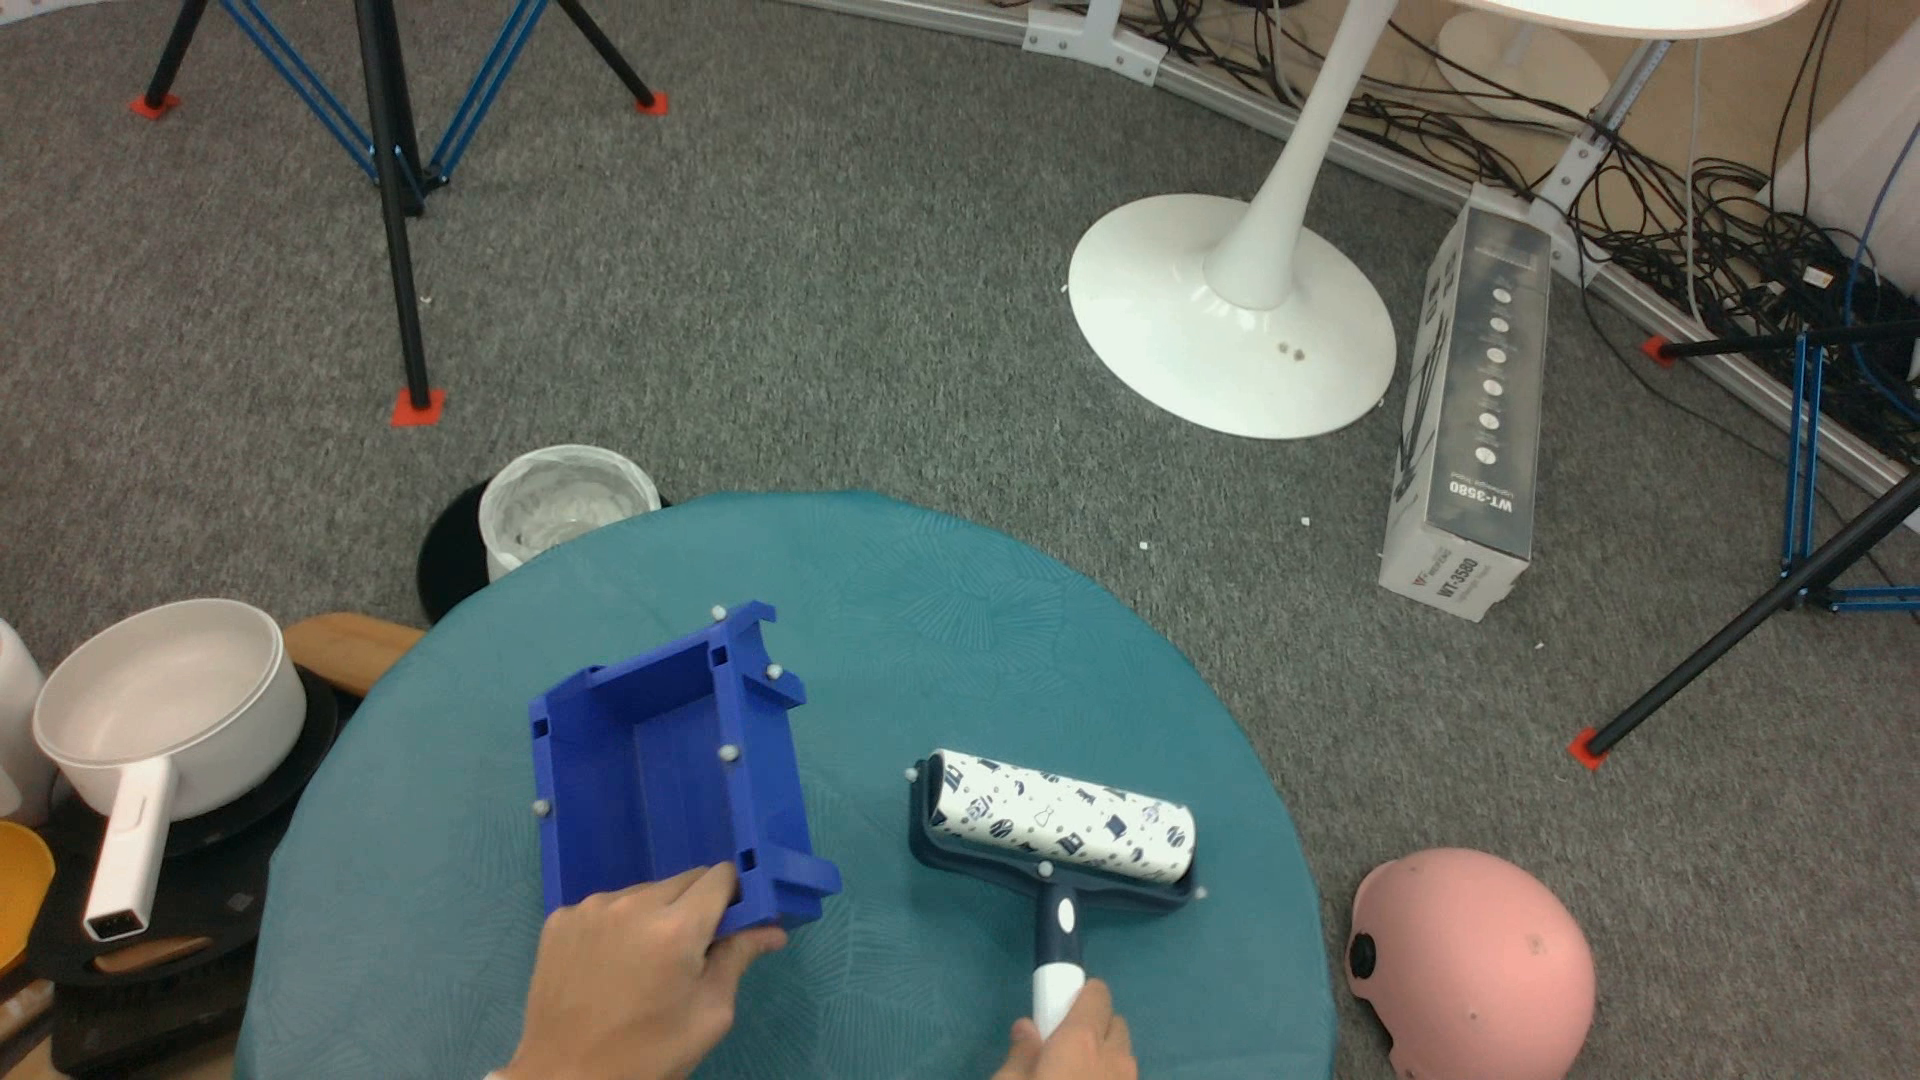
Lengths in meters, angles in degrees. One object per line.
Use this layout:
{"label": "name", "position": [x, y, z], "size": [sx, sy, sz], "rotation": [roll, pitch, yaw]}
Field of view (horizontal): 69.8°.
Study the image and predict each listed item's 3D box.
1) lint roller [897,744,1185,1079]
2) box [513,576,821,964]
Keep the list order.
{"label": "lint roller", "position": [0.050, 0.233, 0.735], "size": [0.176, 0.050, 0.248], "rotation": [16, 45, -18]}
{"label": "box", "position": [-0.156, 0.116, 0.715], "size": [0.124, 0.082, 0.180], "rotation": [-21, 65, 15]}
